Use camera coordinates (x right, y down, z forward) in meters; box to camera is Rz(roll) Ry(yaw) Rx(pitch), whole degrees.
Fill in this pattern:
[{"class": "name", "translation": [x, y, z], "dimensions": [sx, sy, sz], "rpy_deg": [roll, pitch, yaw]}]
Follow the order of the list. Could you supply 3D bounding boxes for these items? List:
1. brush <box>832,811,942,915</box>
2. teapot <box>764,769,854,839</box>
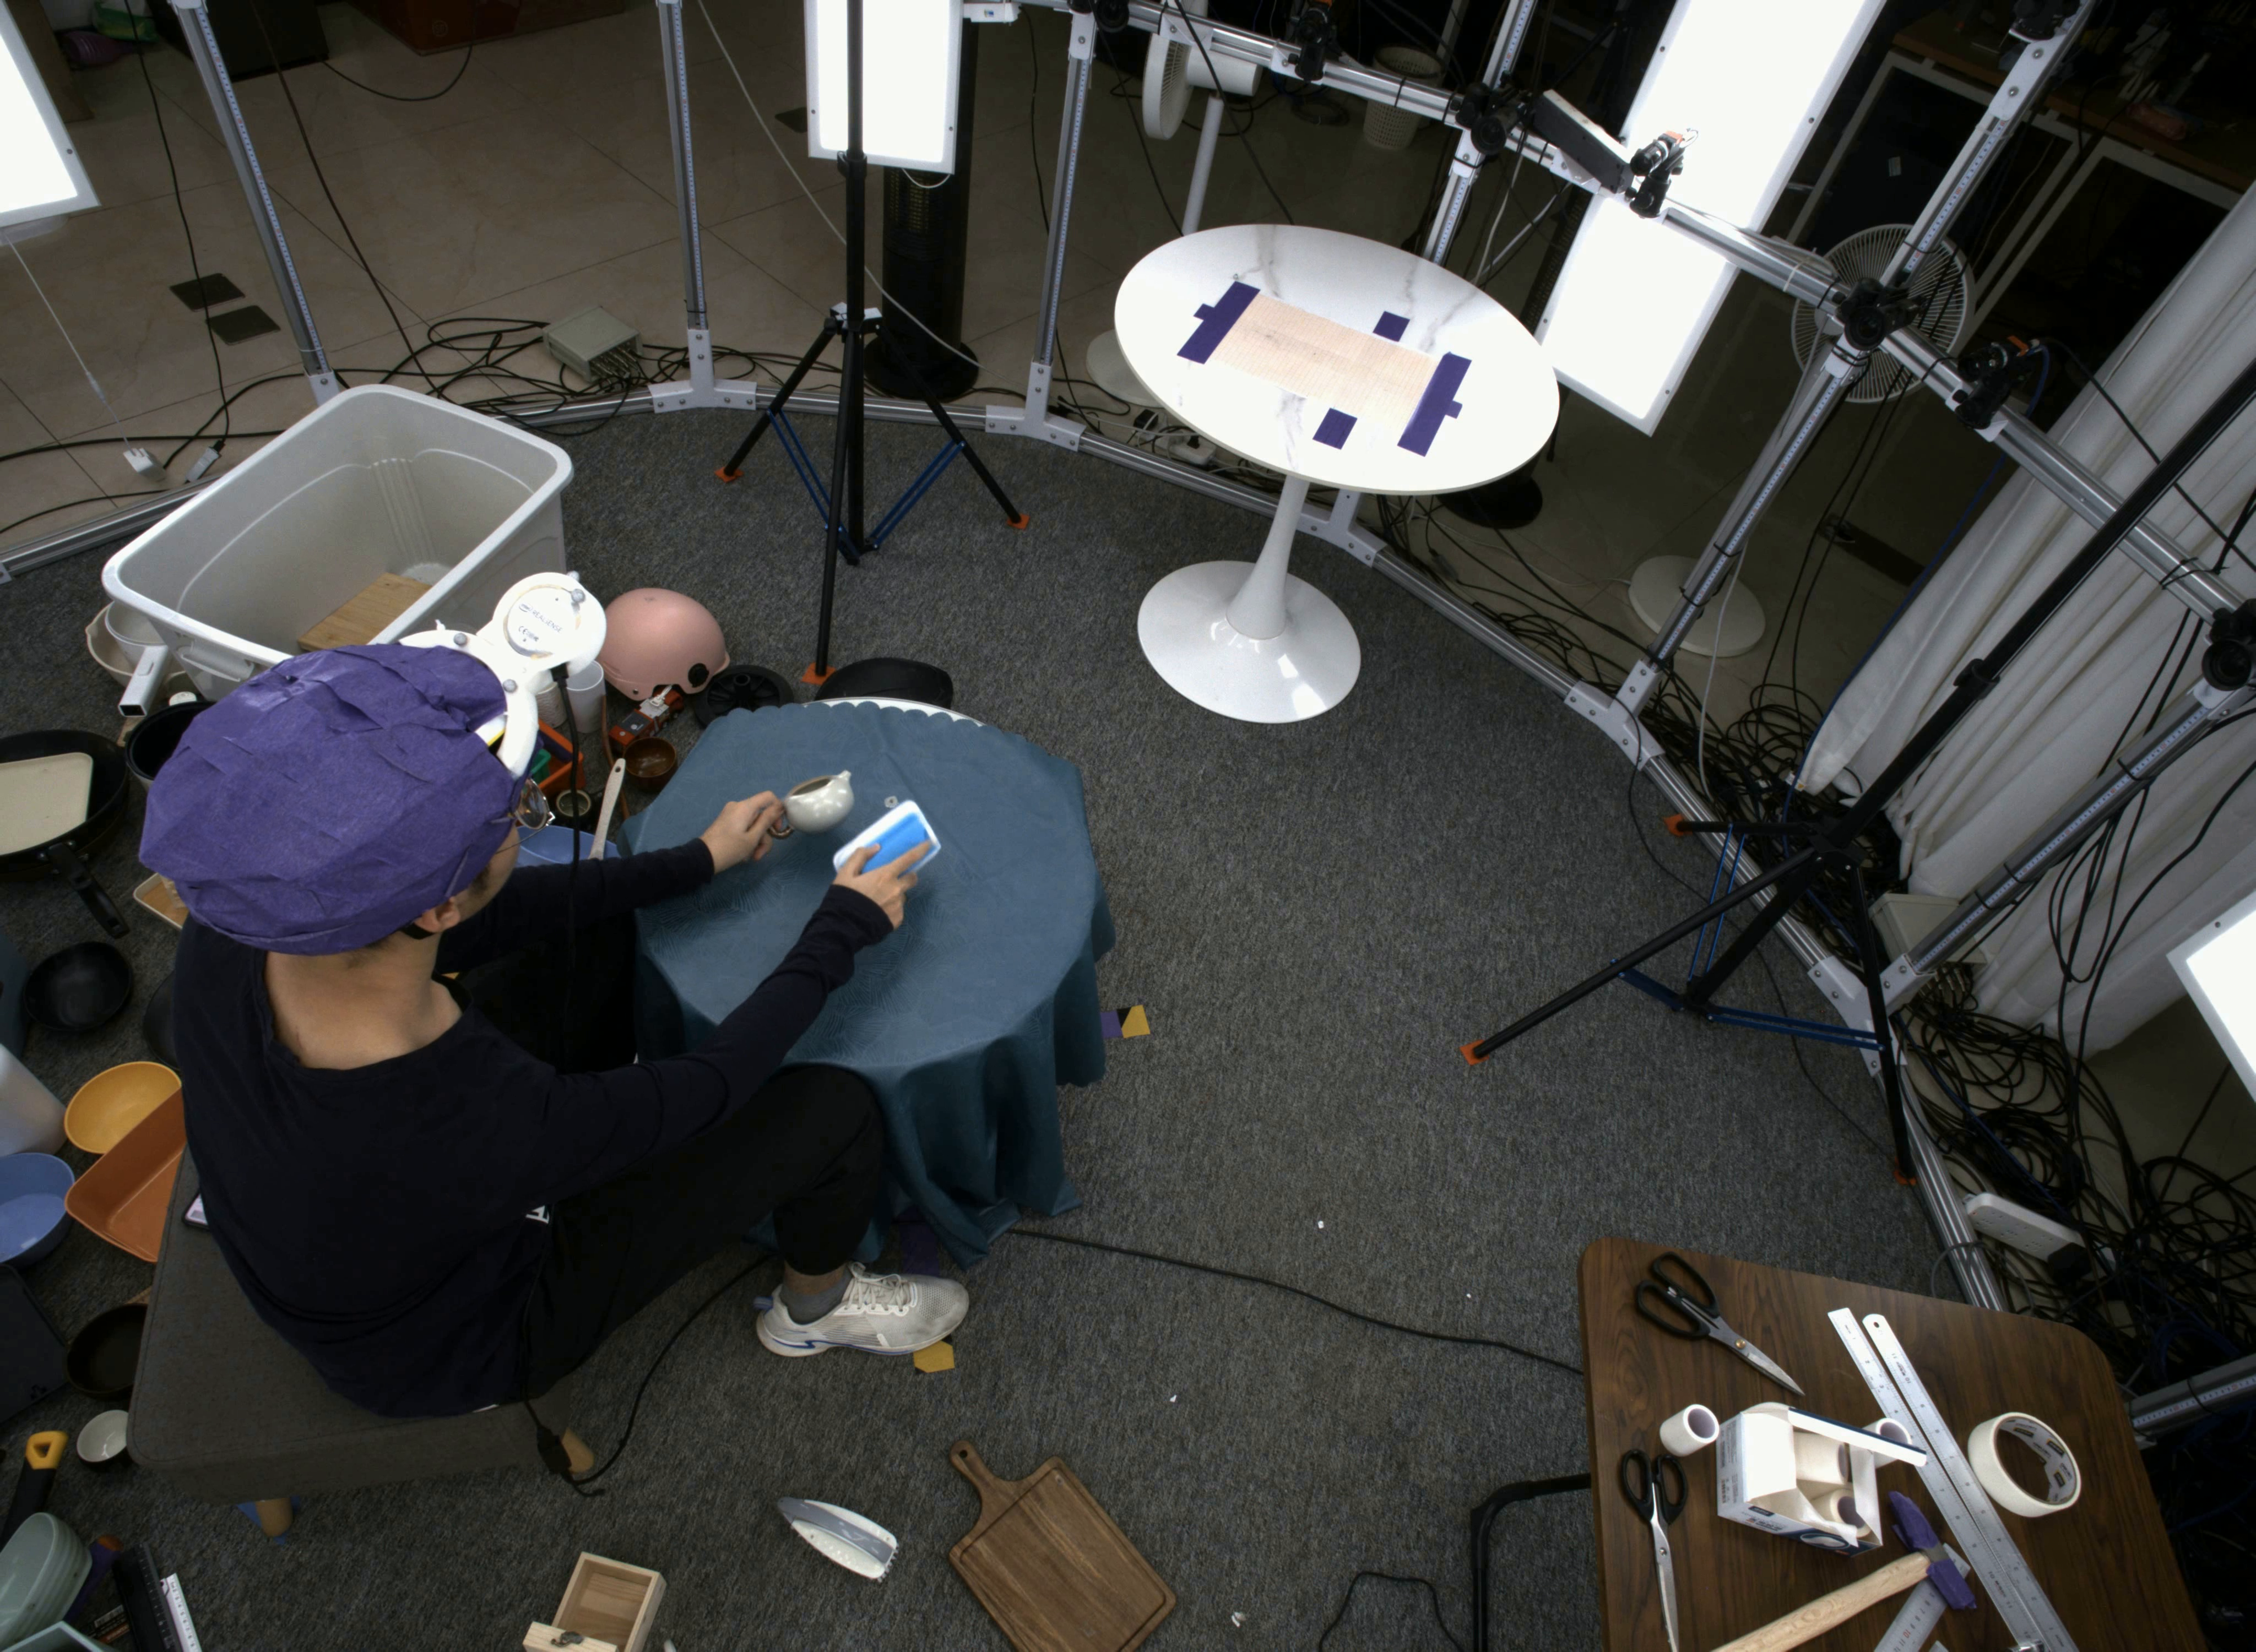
[{"class": "brush", "translation": [-0.295, 0.042, 1.622], "dimensions": [0.144, 0.054, 0.086], "rpy_deg": [-38, 110, -33]}, {"class": "teapot", "translation": [-0.407, -0.026, 1.667], "dimensions": [0.128, 0.061, 0.088], "rpy_deg": [-26, 25, -27]}]
